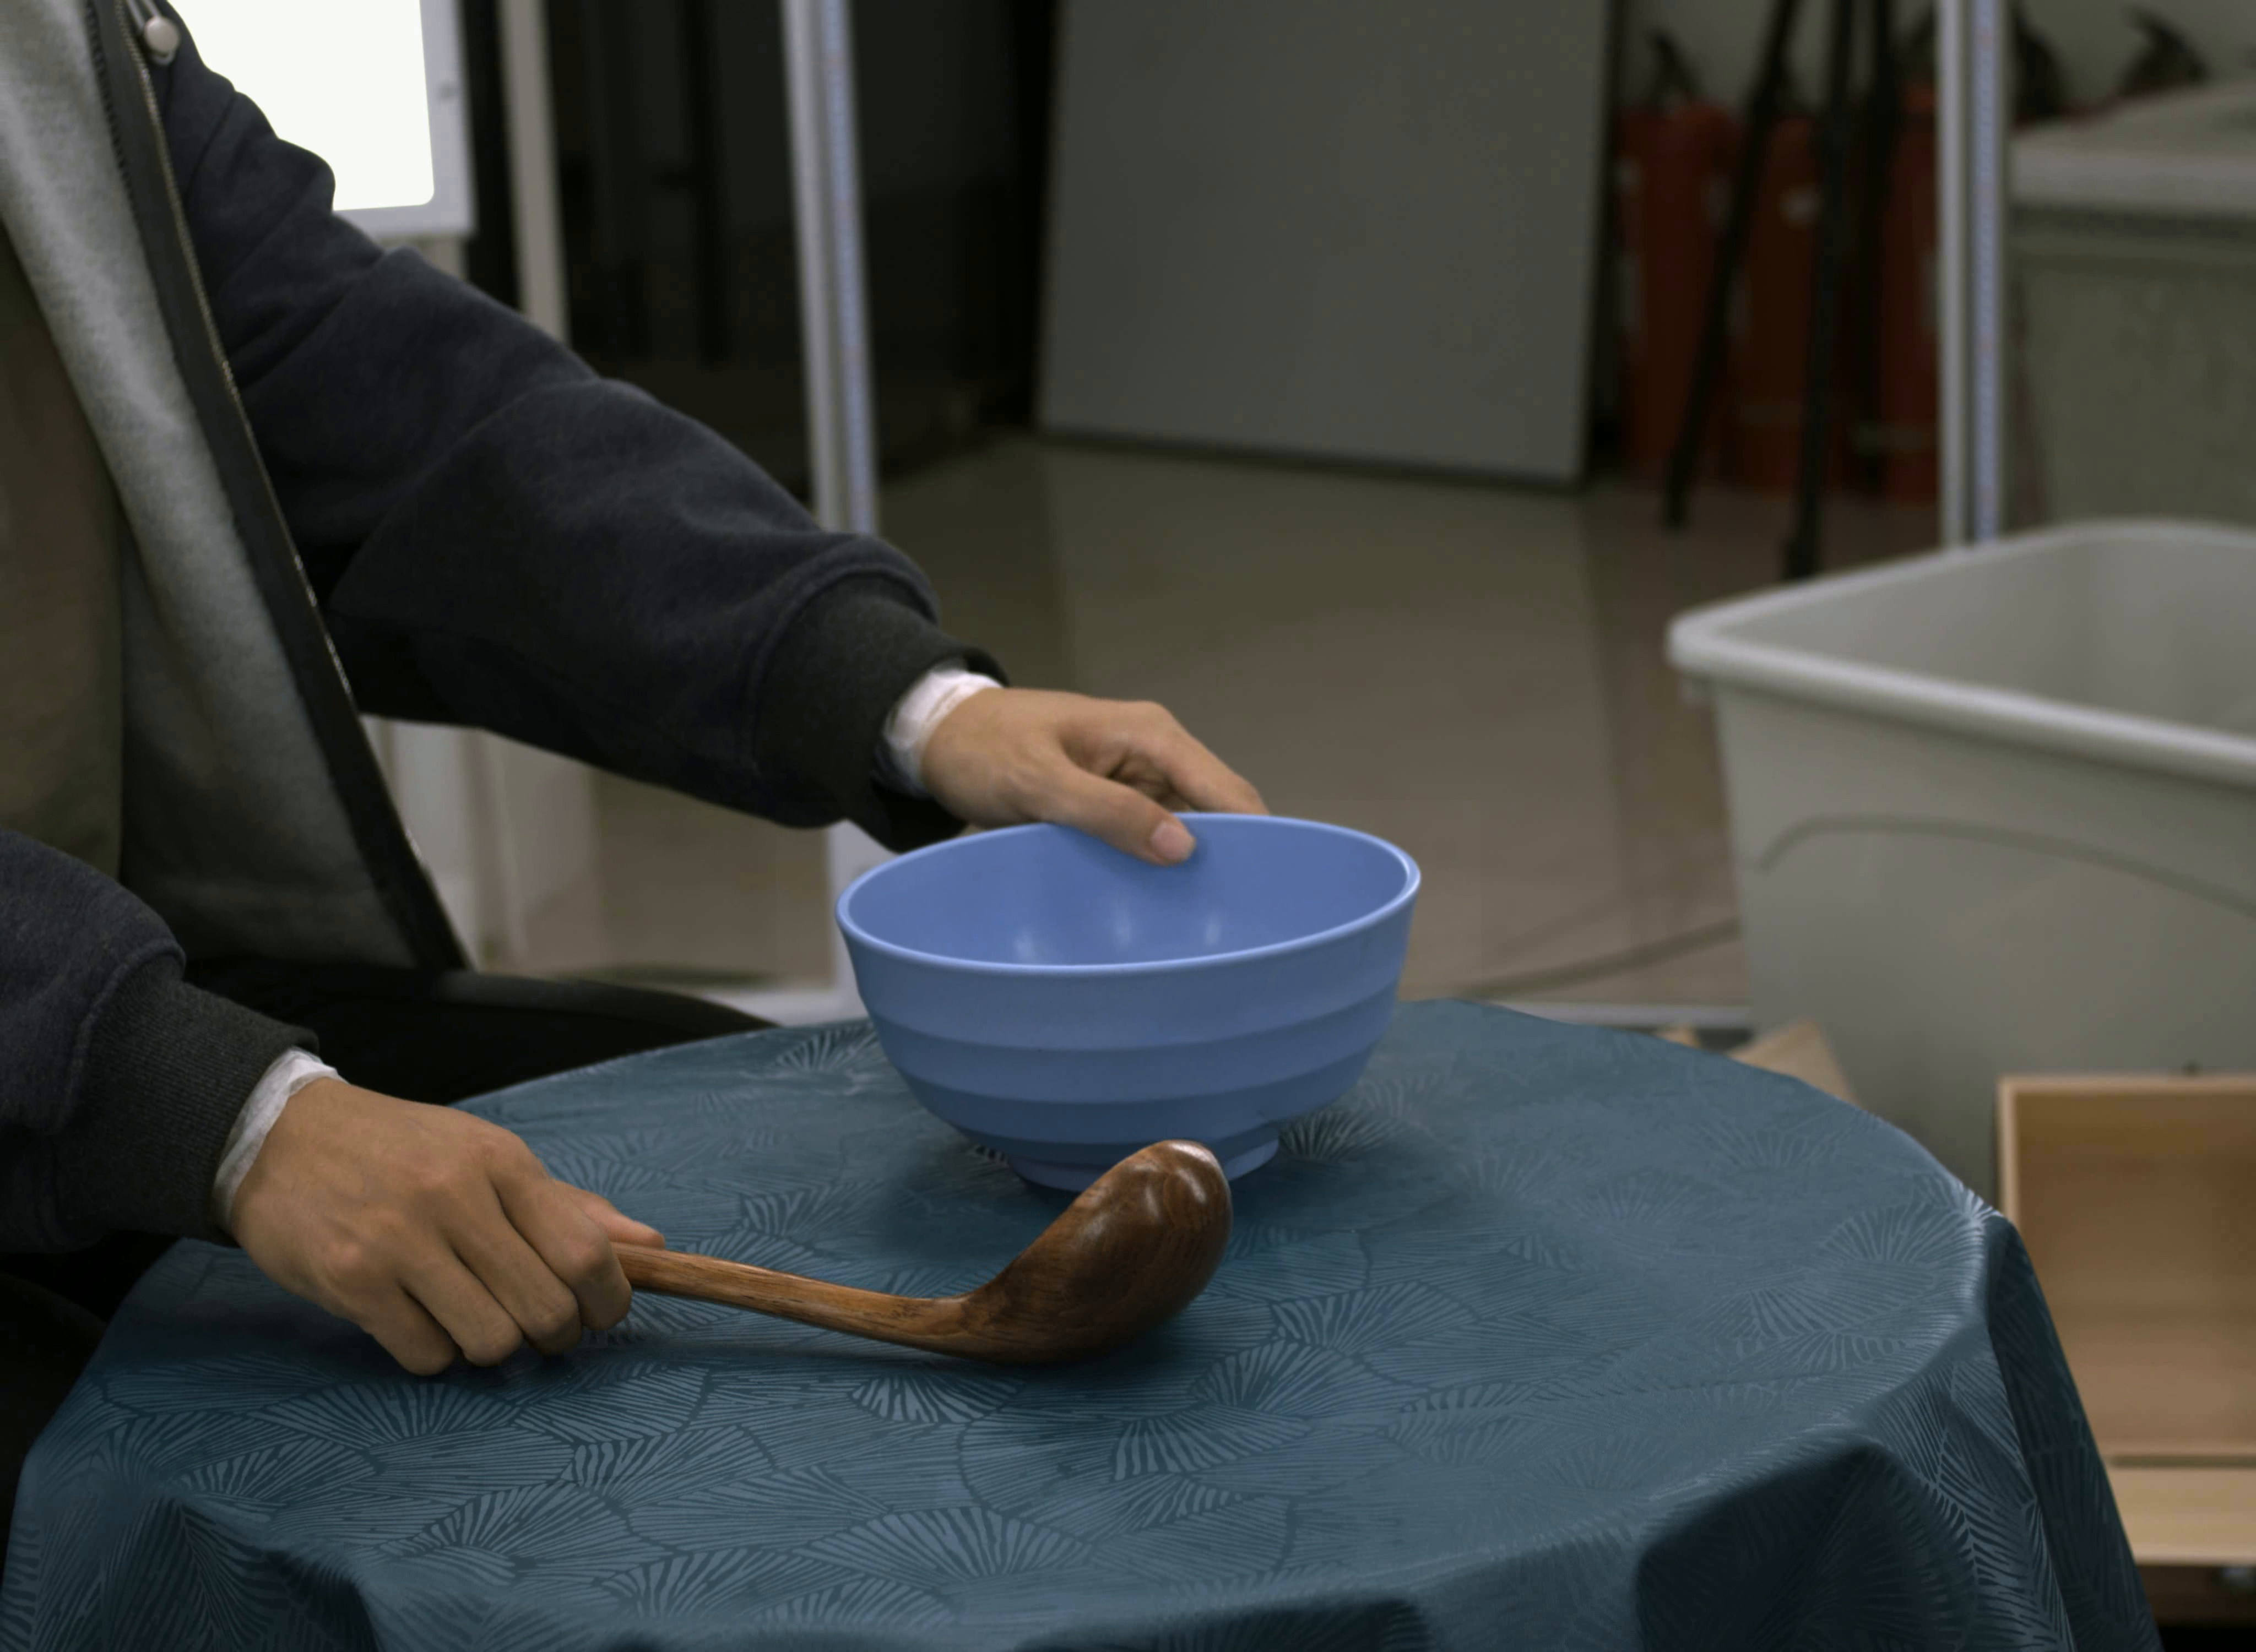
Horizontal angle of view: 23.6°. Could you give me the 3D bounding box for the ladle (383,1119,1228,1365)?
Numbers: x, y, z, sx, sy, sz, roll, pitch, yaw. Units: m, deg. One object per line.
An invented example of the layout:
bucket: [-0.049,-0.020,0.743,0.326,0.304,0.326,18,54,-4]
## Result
ladle: [-0.100,0.117,1.643,0.274,0.077,0.081,4,-20,24]

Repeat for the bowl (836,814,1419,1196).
bowl: [0.003,0.066,1.796,0.194,0.096,0.197,-5,14,0]
